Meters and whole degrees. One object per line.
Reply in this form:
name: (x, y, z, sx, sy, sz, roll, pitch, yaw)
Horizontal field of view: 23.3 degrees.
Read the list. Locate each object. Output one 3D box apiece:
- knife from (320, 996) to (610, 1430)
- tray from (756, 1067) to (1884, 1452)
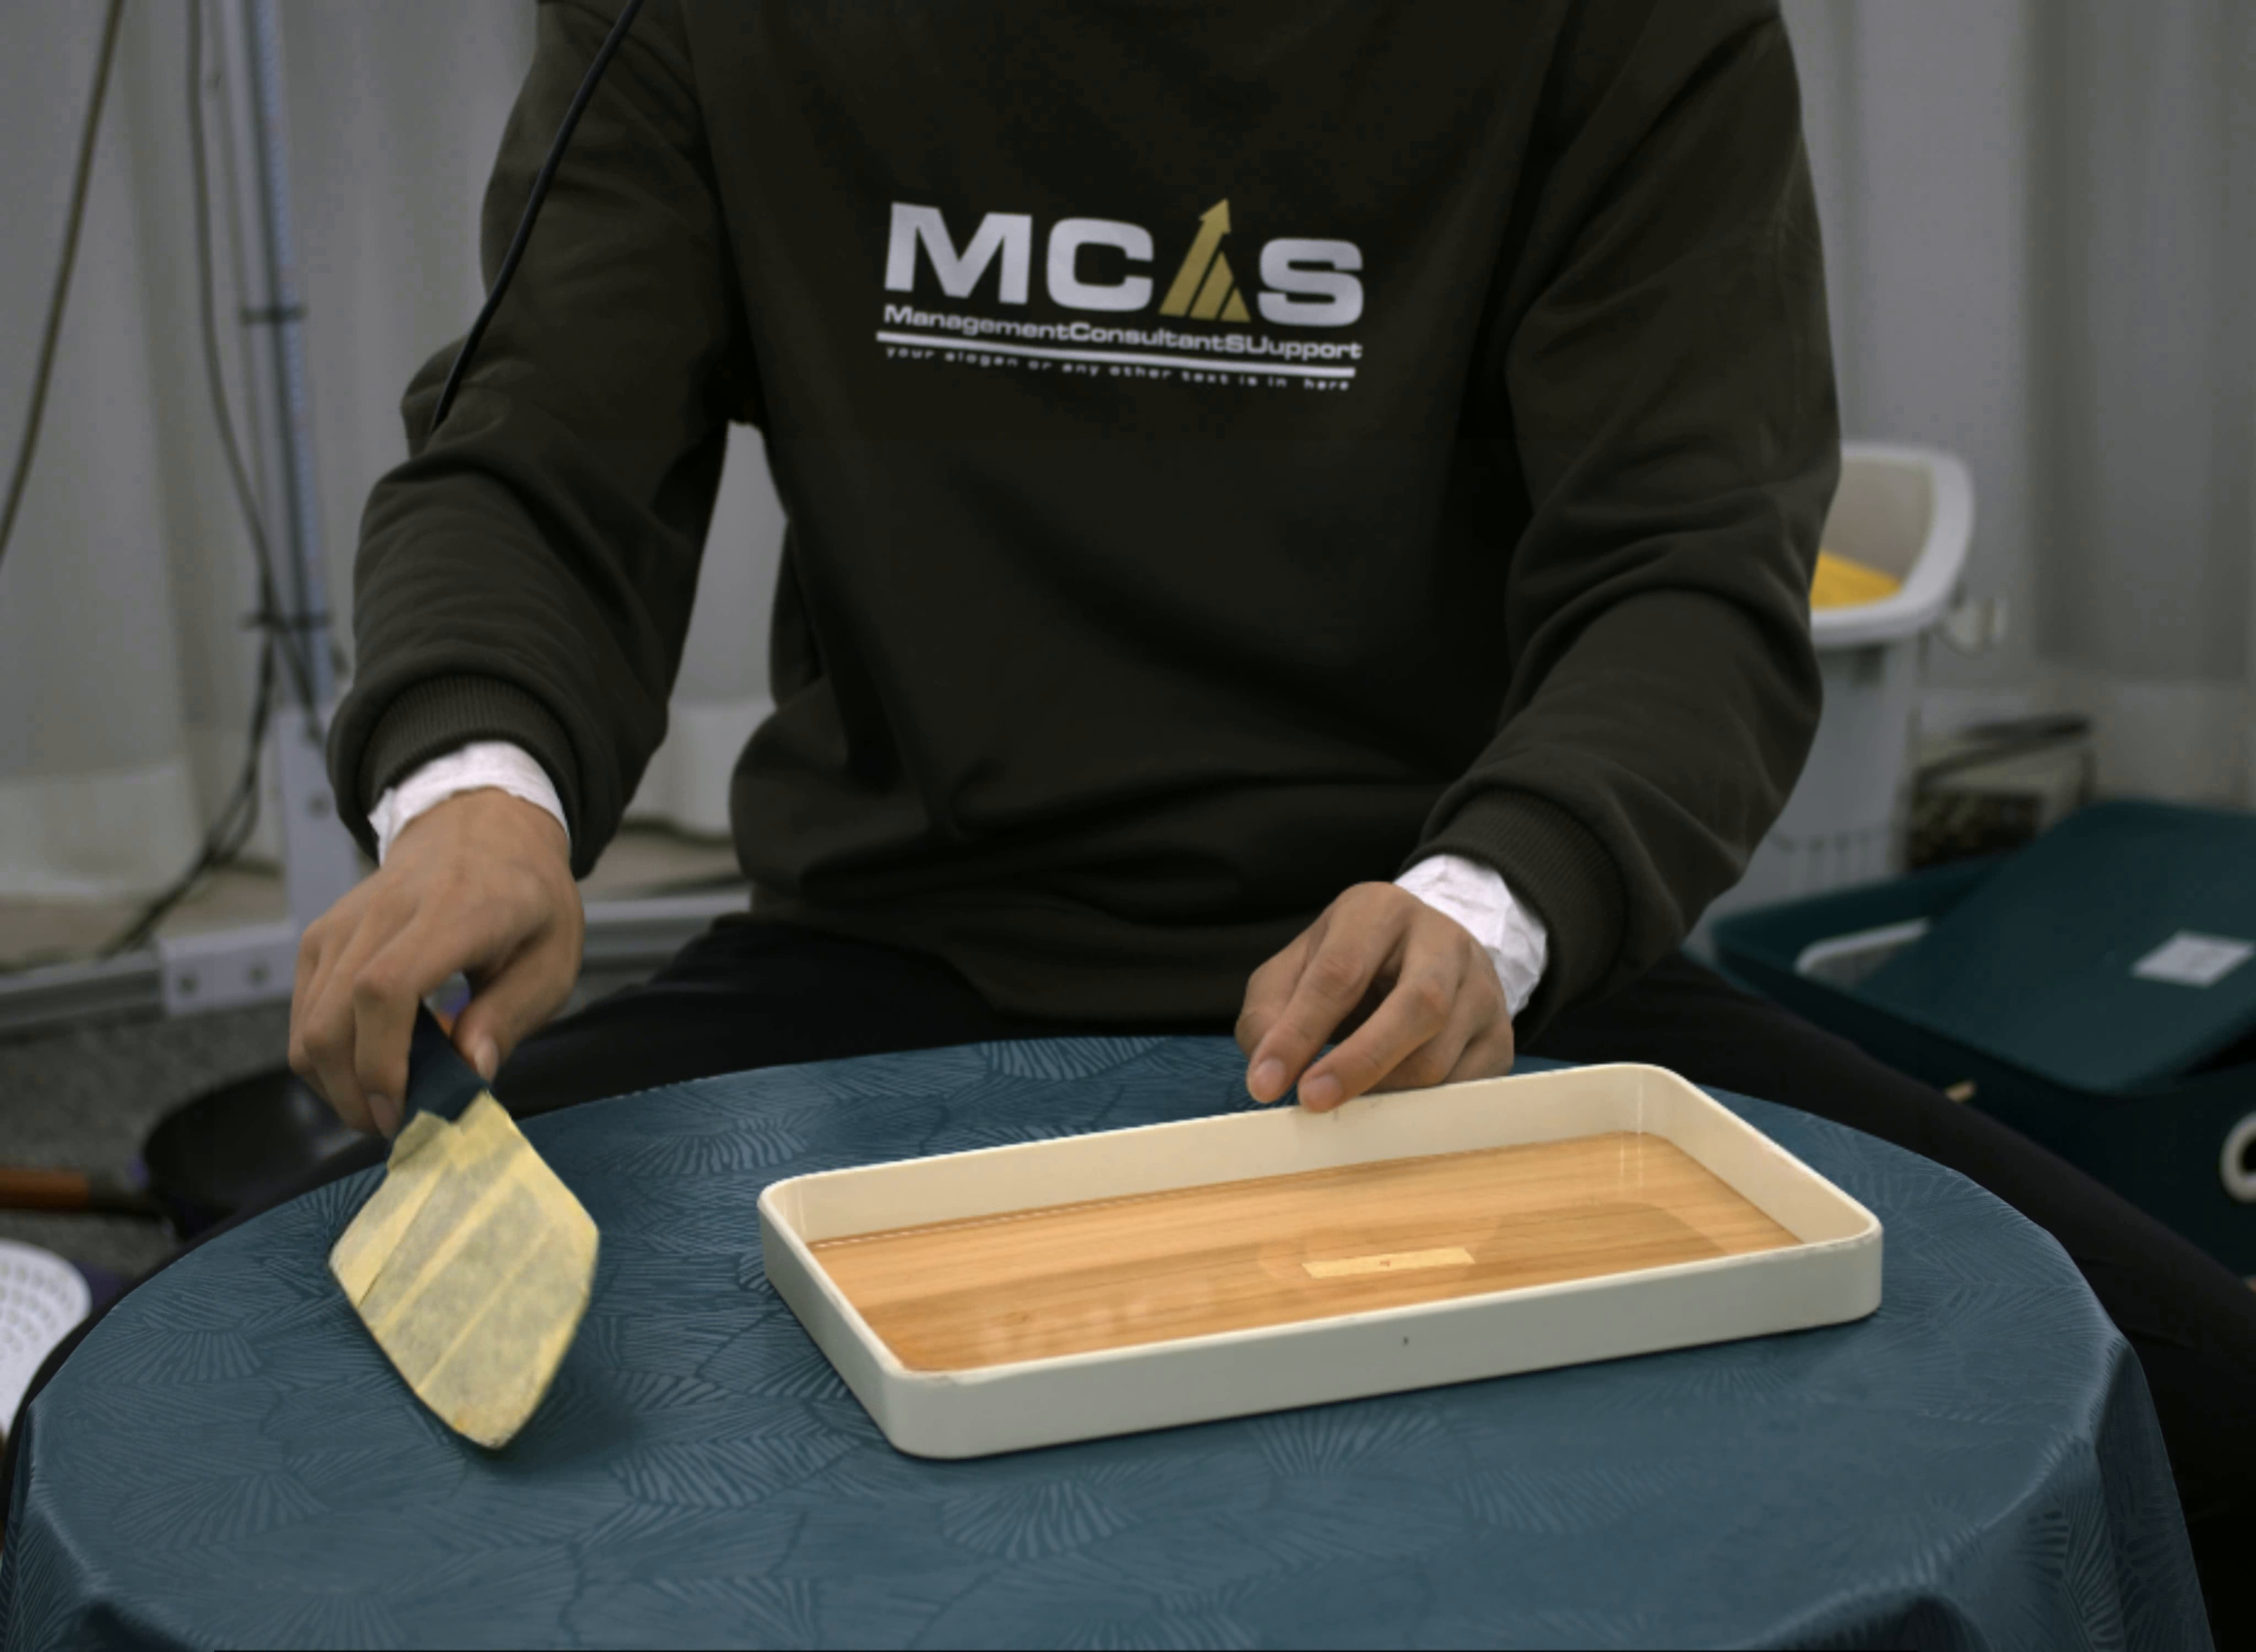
knife: (-0.209, 0.112, 1.634, 0.081, 0.027, 0.292, -44, 27, -2)
tray: (0.053, 0.125, 1.617, 0.299, 0.027, 0.193, -7, 14, -15)
